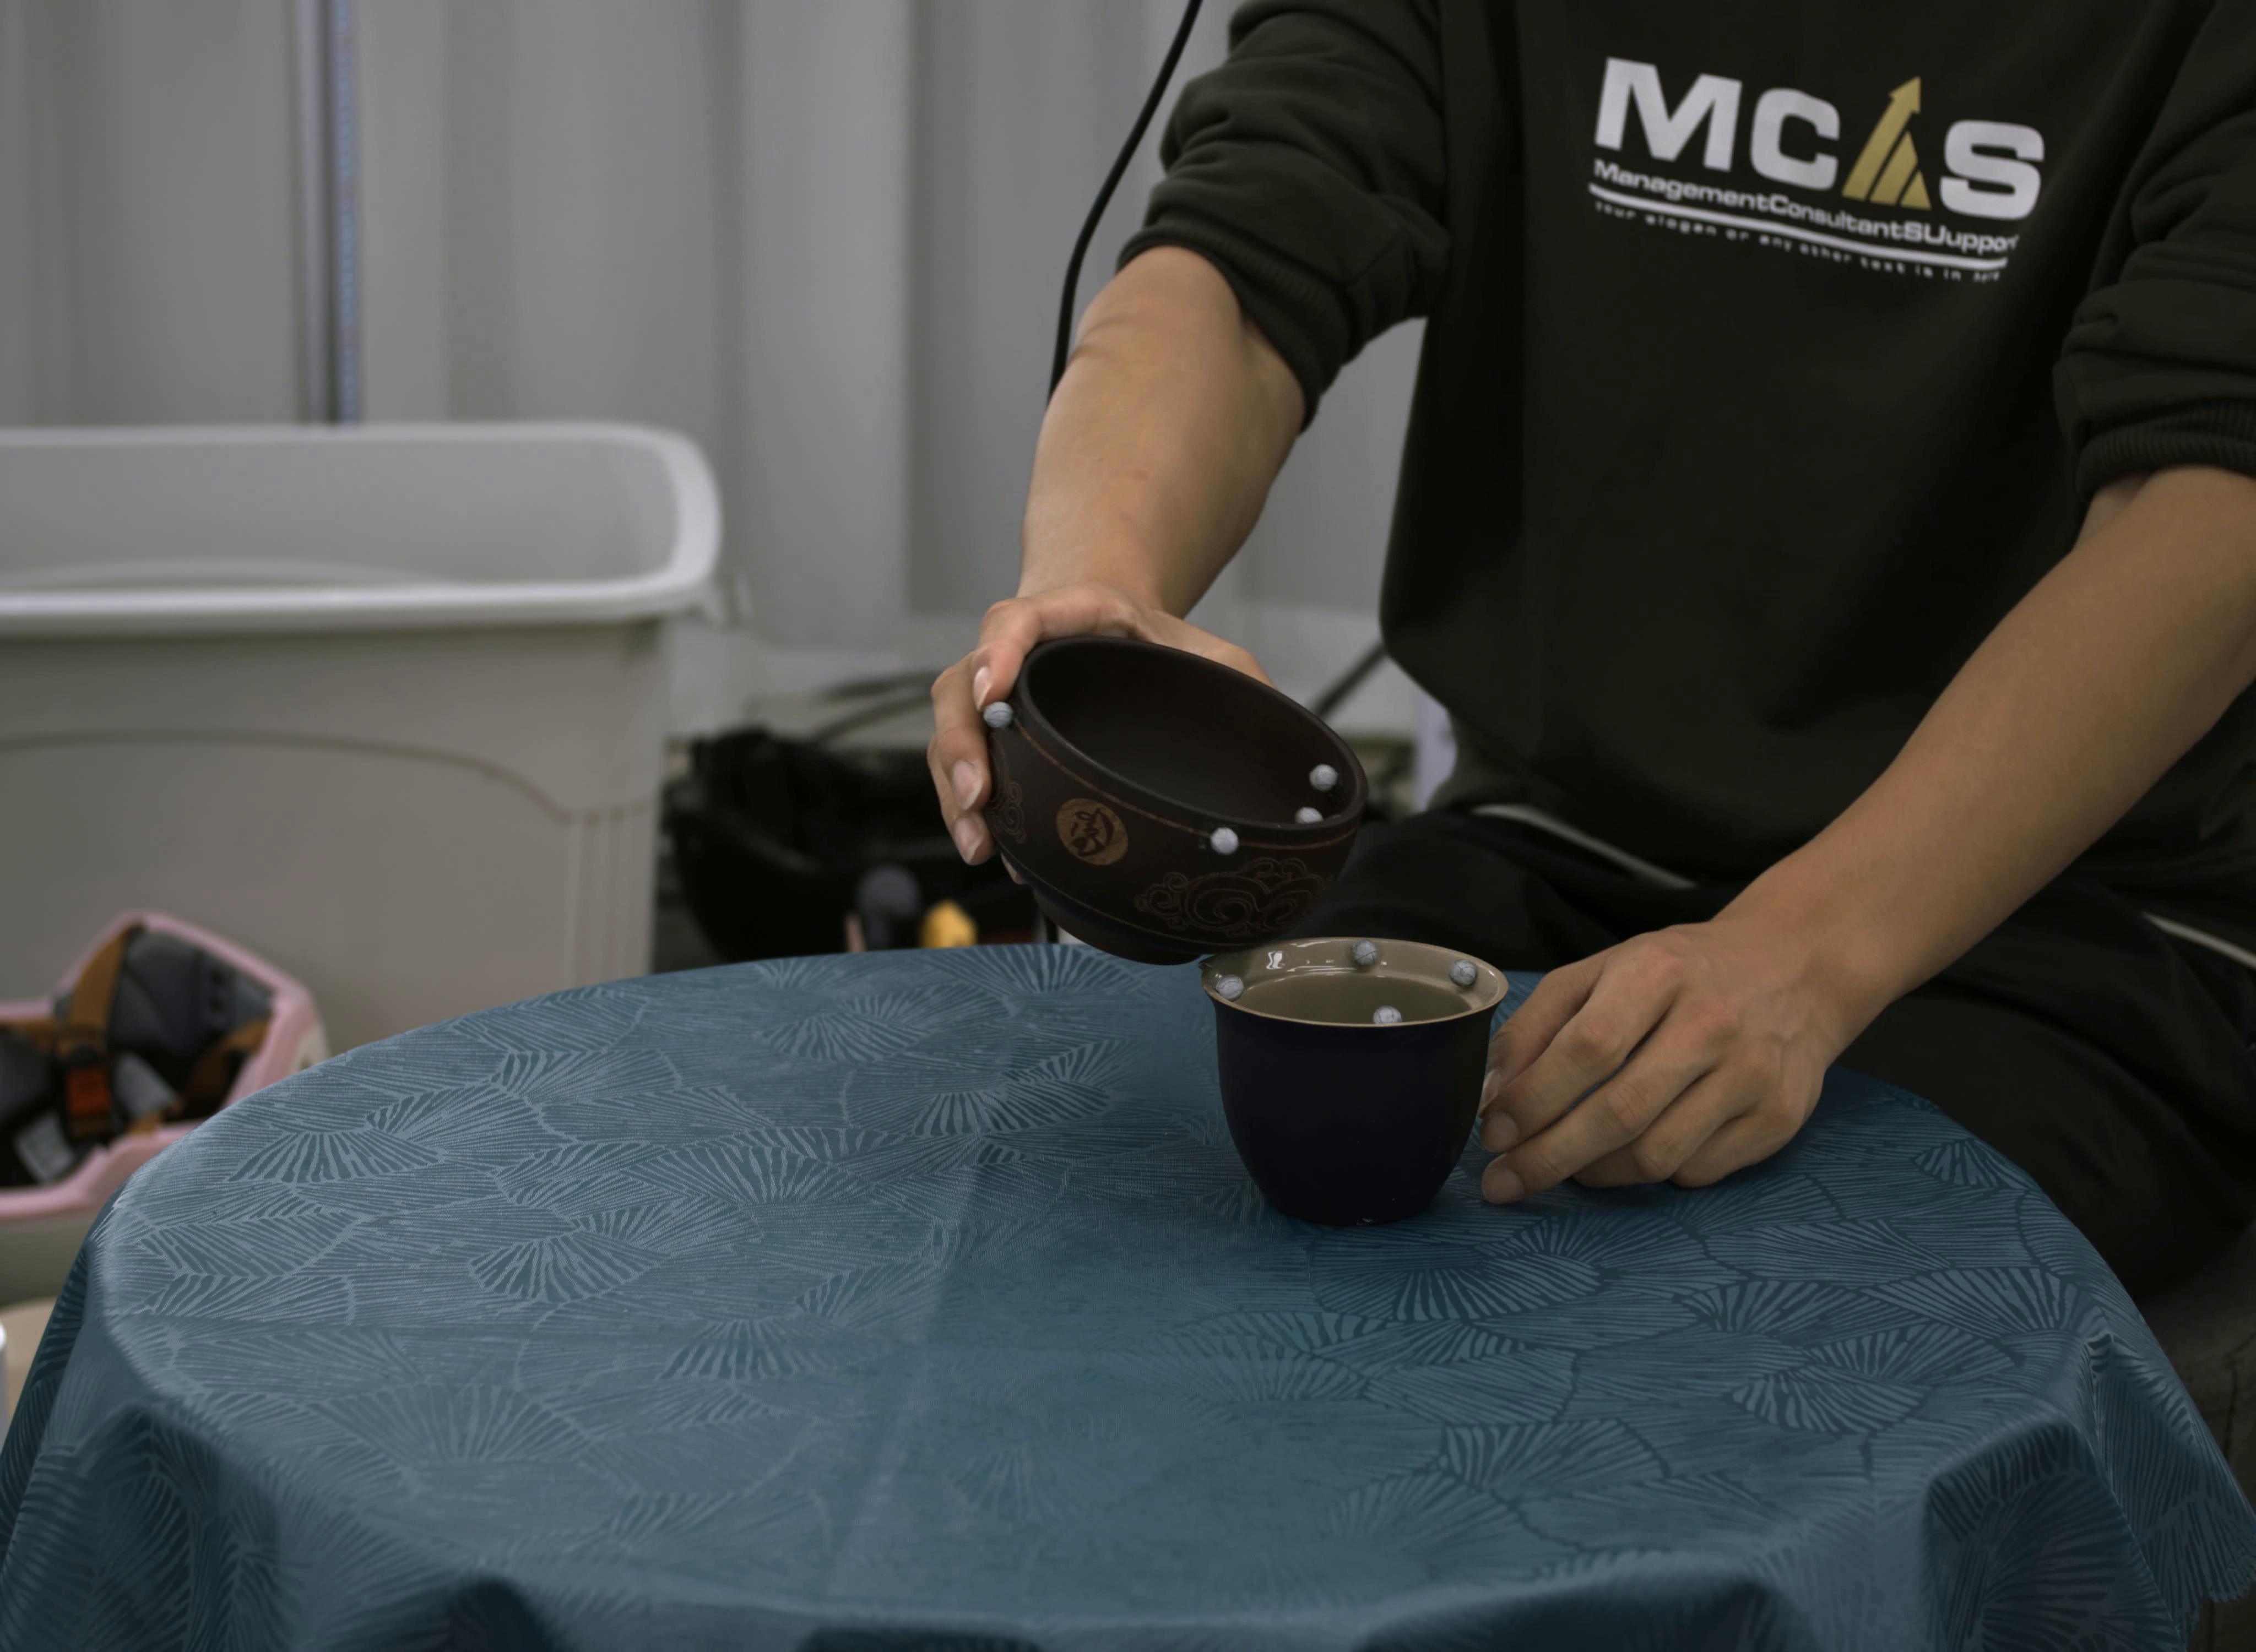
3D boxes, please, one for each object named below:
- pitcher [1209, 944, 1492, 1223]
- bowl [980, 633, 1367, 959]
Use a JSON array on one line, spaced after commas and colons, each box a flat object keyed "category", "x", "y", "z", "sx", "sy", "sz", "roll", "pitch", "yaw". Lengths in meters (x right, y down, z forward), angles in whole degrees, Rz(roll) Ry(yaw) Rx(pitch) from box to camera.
[{"category": "pitcher", "x": 0.064, "y": 0.079, "z": 1.615, "sx": 0.095, "sy": 0.072, "sz": 0.084, "roll": 14, "pitch": 21, "yaw": 37}, {"category": "bowl", "x": 0.009, "y": -0.003, "z": 1.629, "sx": 0.118, "sy": 0.070, "sz": 0.117, "roll": 18, "pitch": 23, "yaw": -7}]
